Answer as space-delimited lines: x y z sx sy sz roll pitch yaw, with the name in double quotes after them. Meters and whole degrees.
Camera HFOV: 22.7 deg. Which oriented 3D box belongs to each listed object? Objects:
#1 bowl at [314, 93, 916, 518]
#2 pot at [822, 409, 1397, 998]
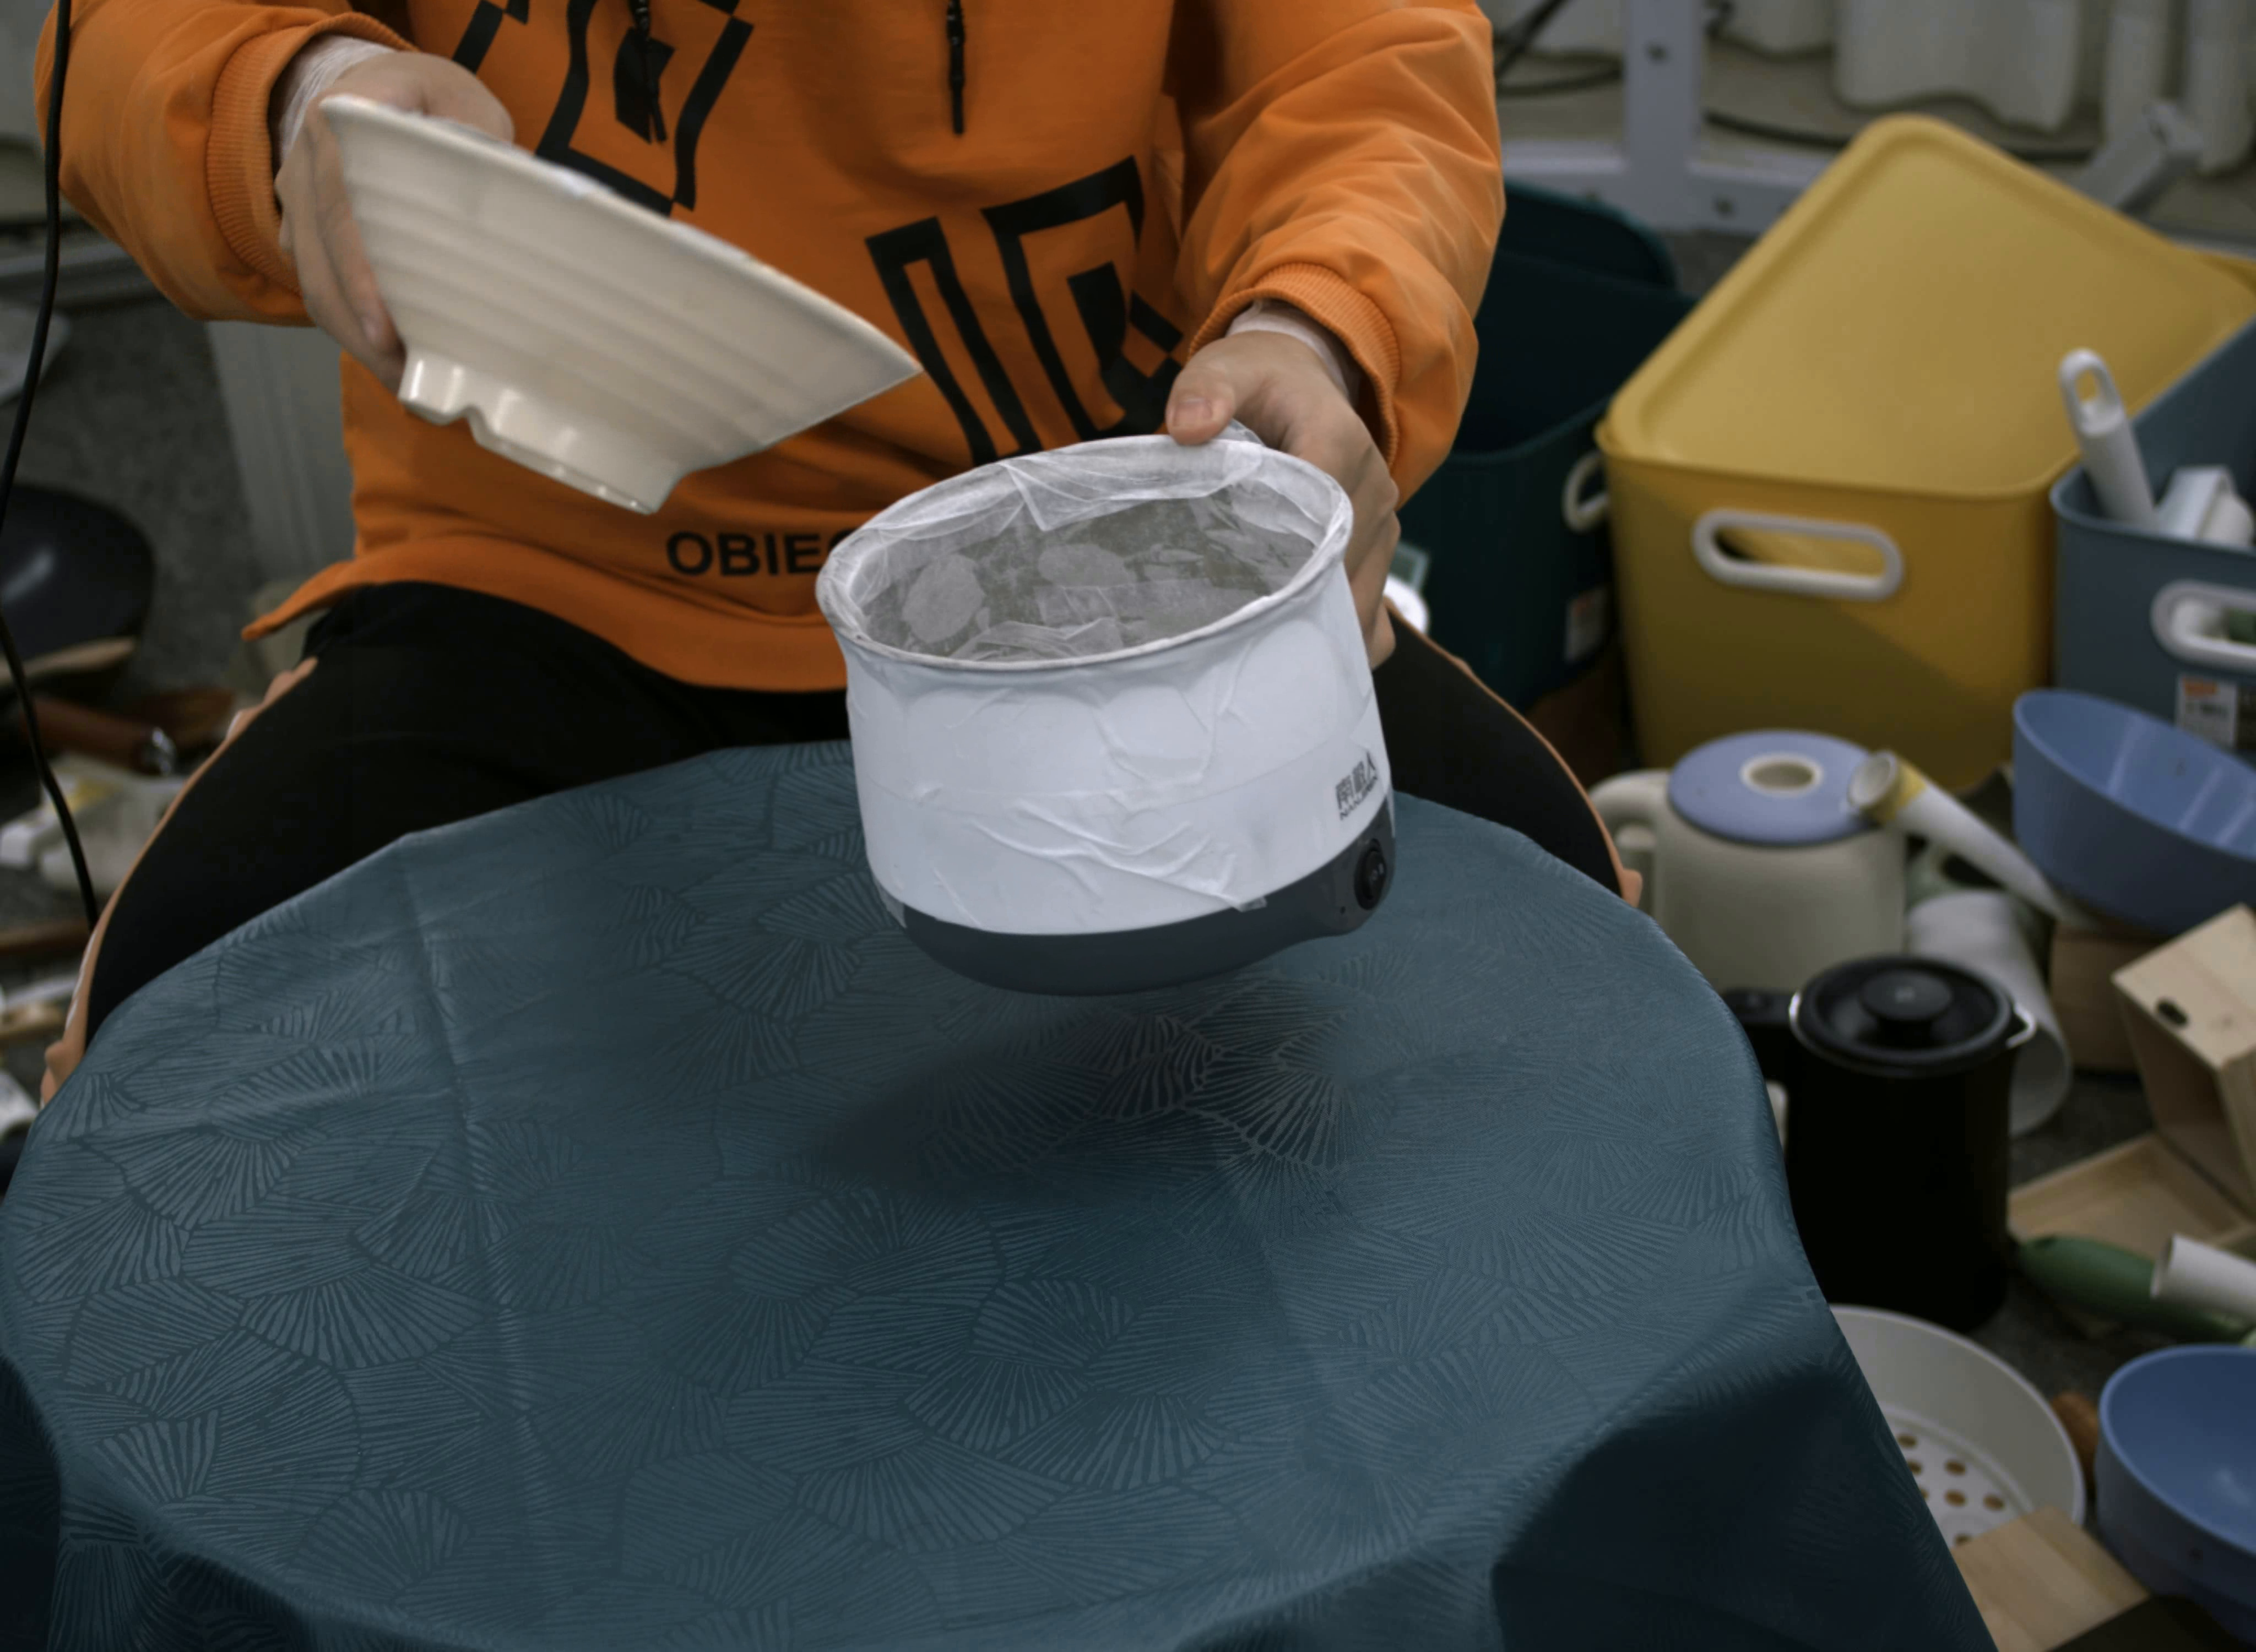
-0.172 -0.148 1.747 0.203 0.078 0.203 23 -5 3 "bowl"
0.007 -0.048 1.882 0.177 0.135 0.238 4 29 25 "pot"
